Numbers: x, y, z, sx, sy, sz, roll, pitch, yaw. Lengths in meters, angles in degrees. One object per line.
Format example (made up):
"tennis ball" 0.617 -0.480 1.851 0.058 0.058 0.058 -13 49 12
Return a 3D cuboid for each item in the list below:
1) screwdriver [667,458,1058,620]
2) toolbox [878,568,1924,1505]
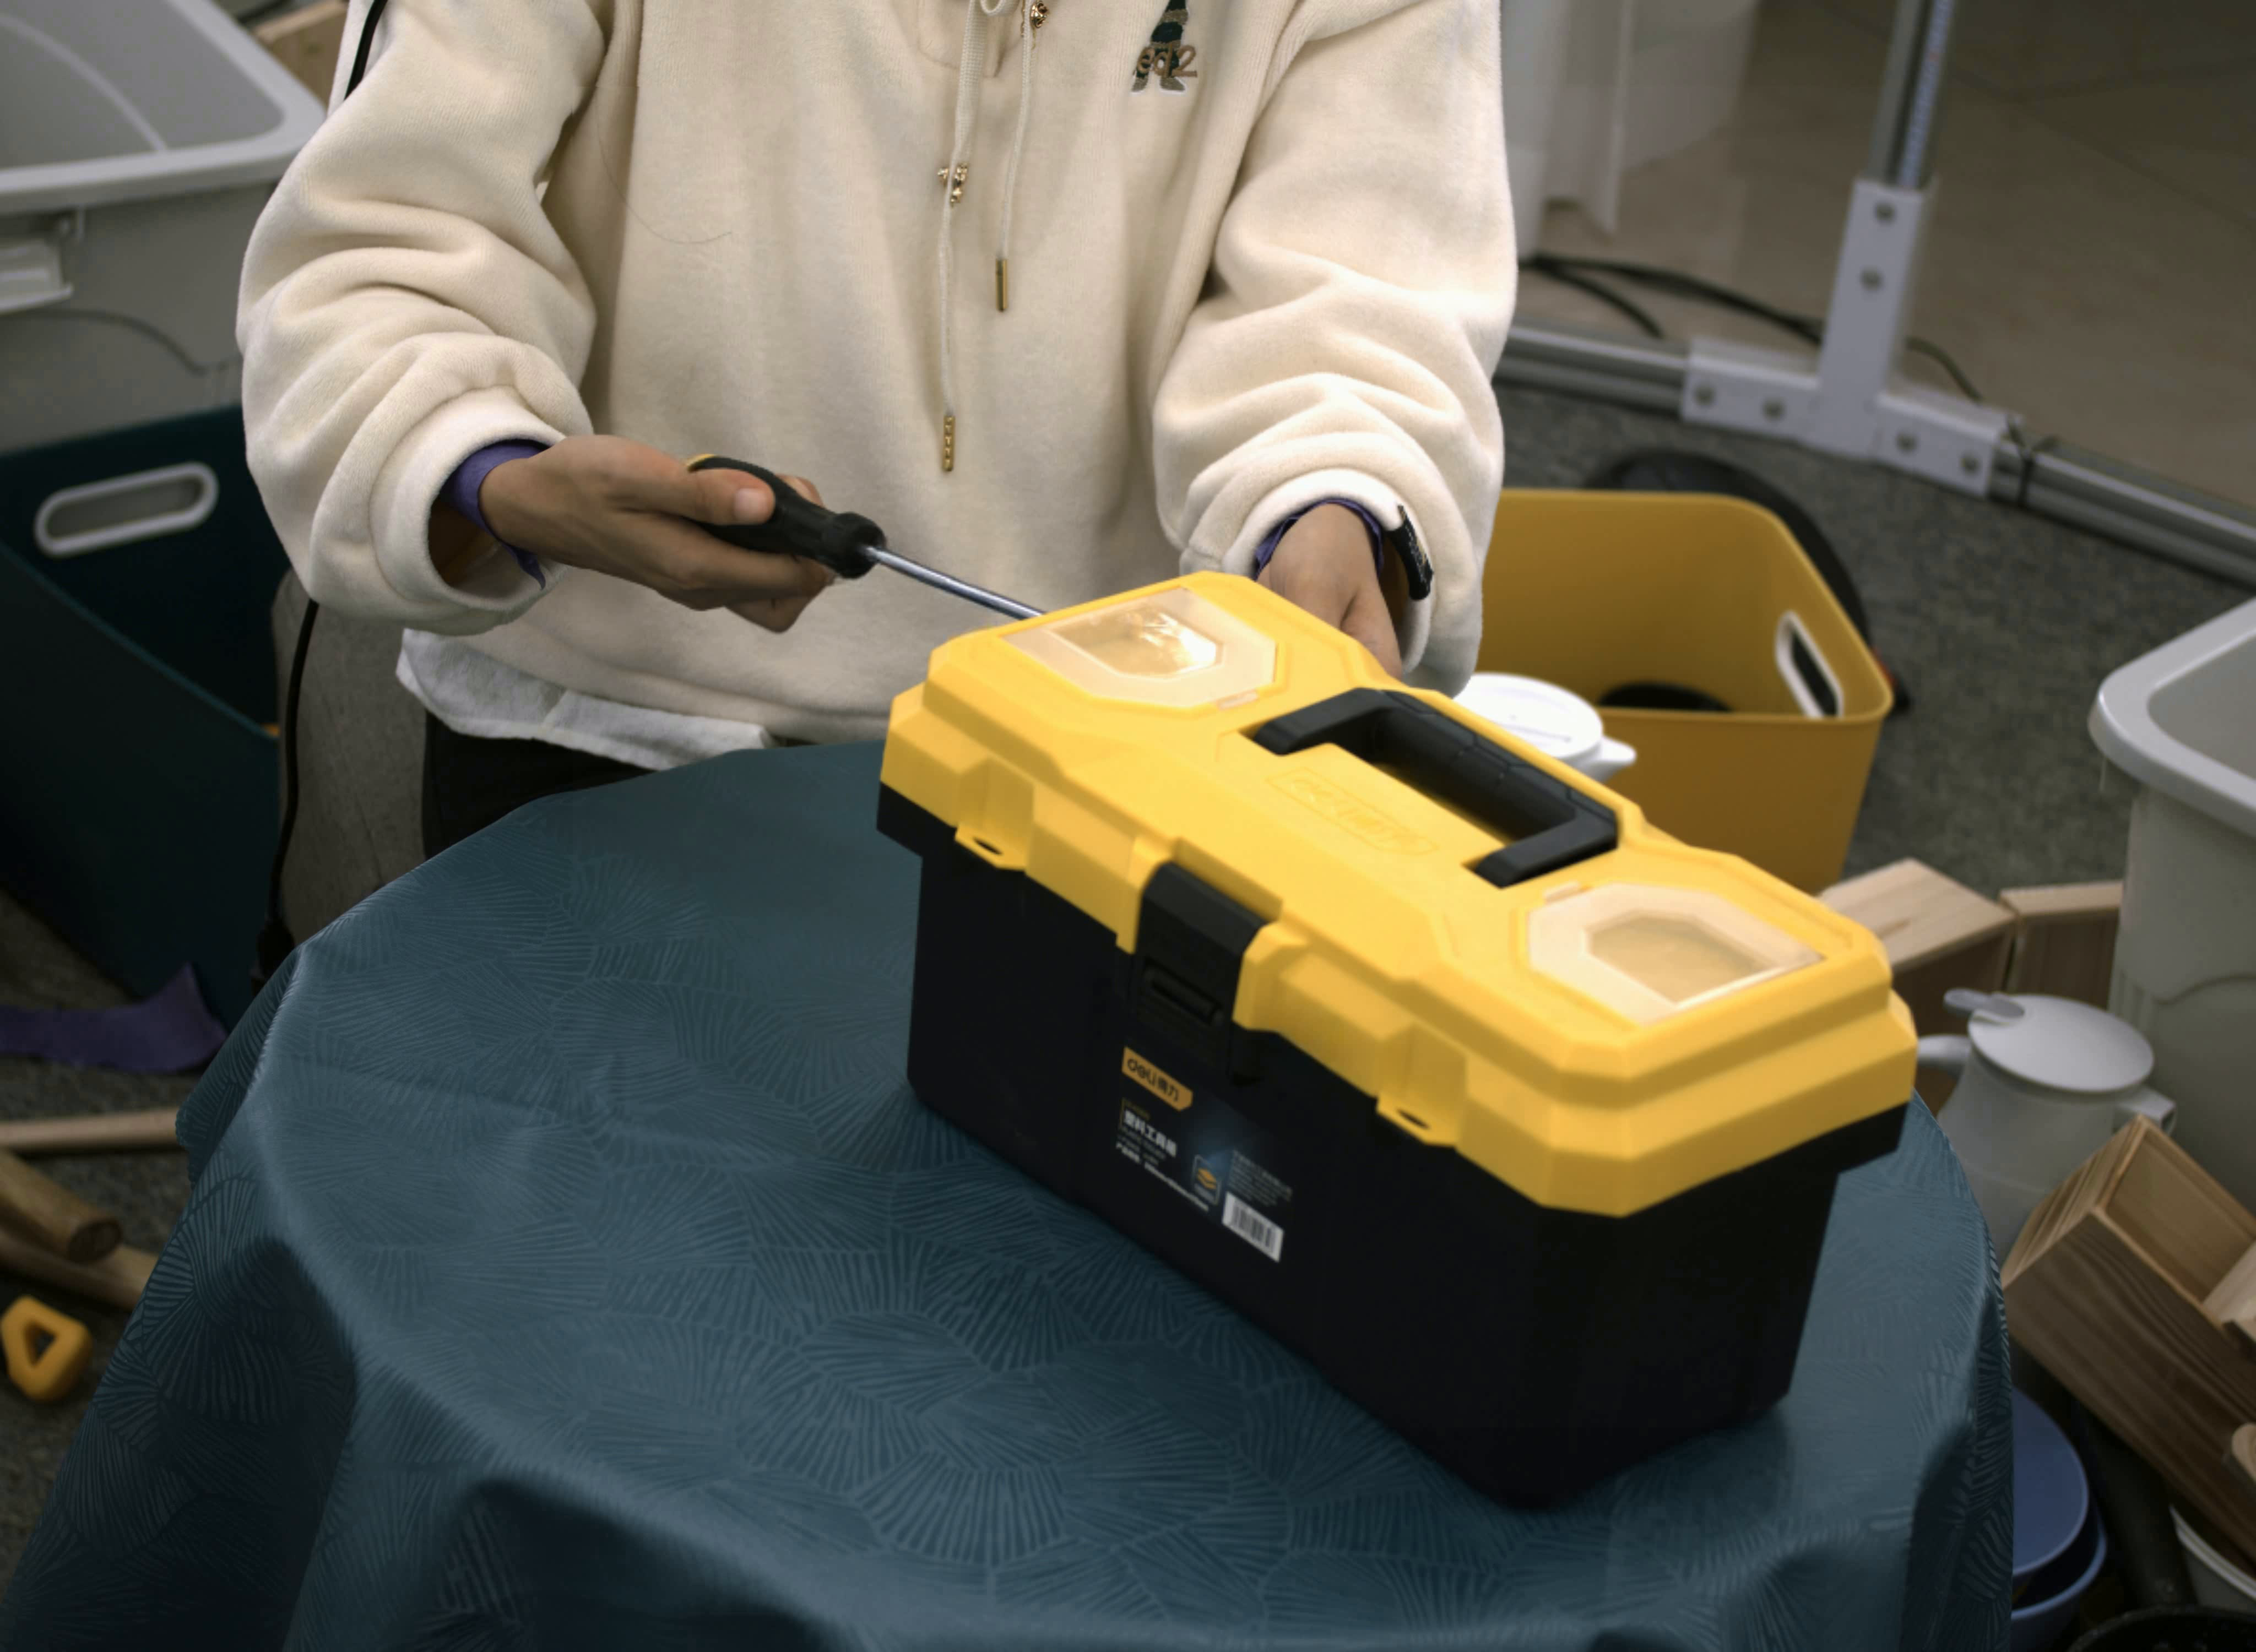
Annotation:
"screwdriver" -0.092 -0.093 1.889 0.197 0.031 0.031 26 32 36
"toolbox" 0.077 0.063 1.748 0.180 0.172 0.354 -16 35 -38
